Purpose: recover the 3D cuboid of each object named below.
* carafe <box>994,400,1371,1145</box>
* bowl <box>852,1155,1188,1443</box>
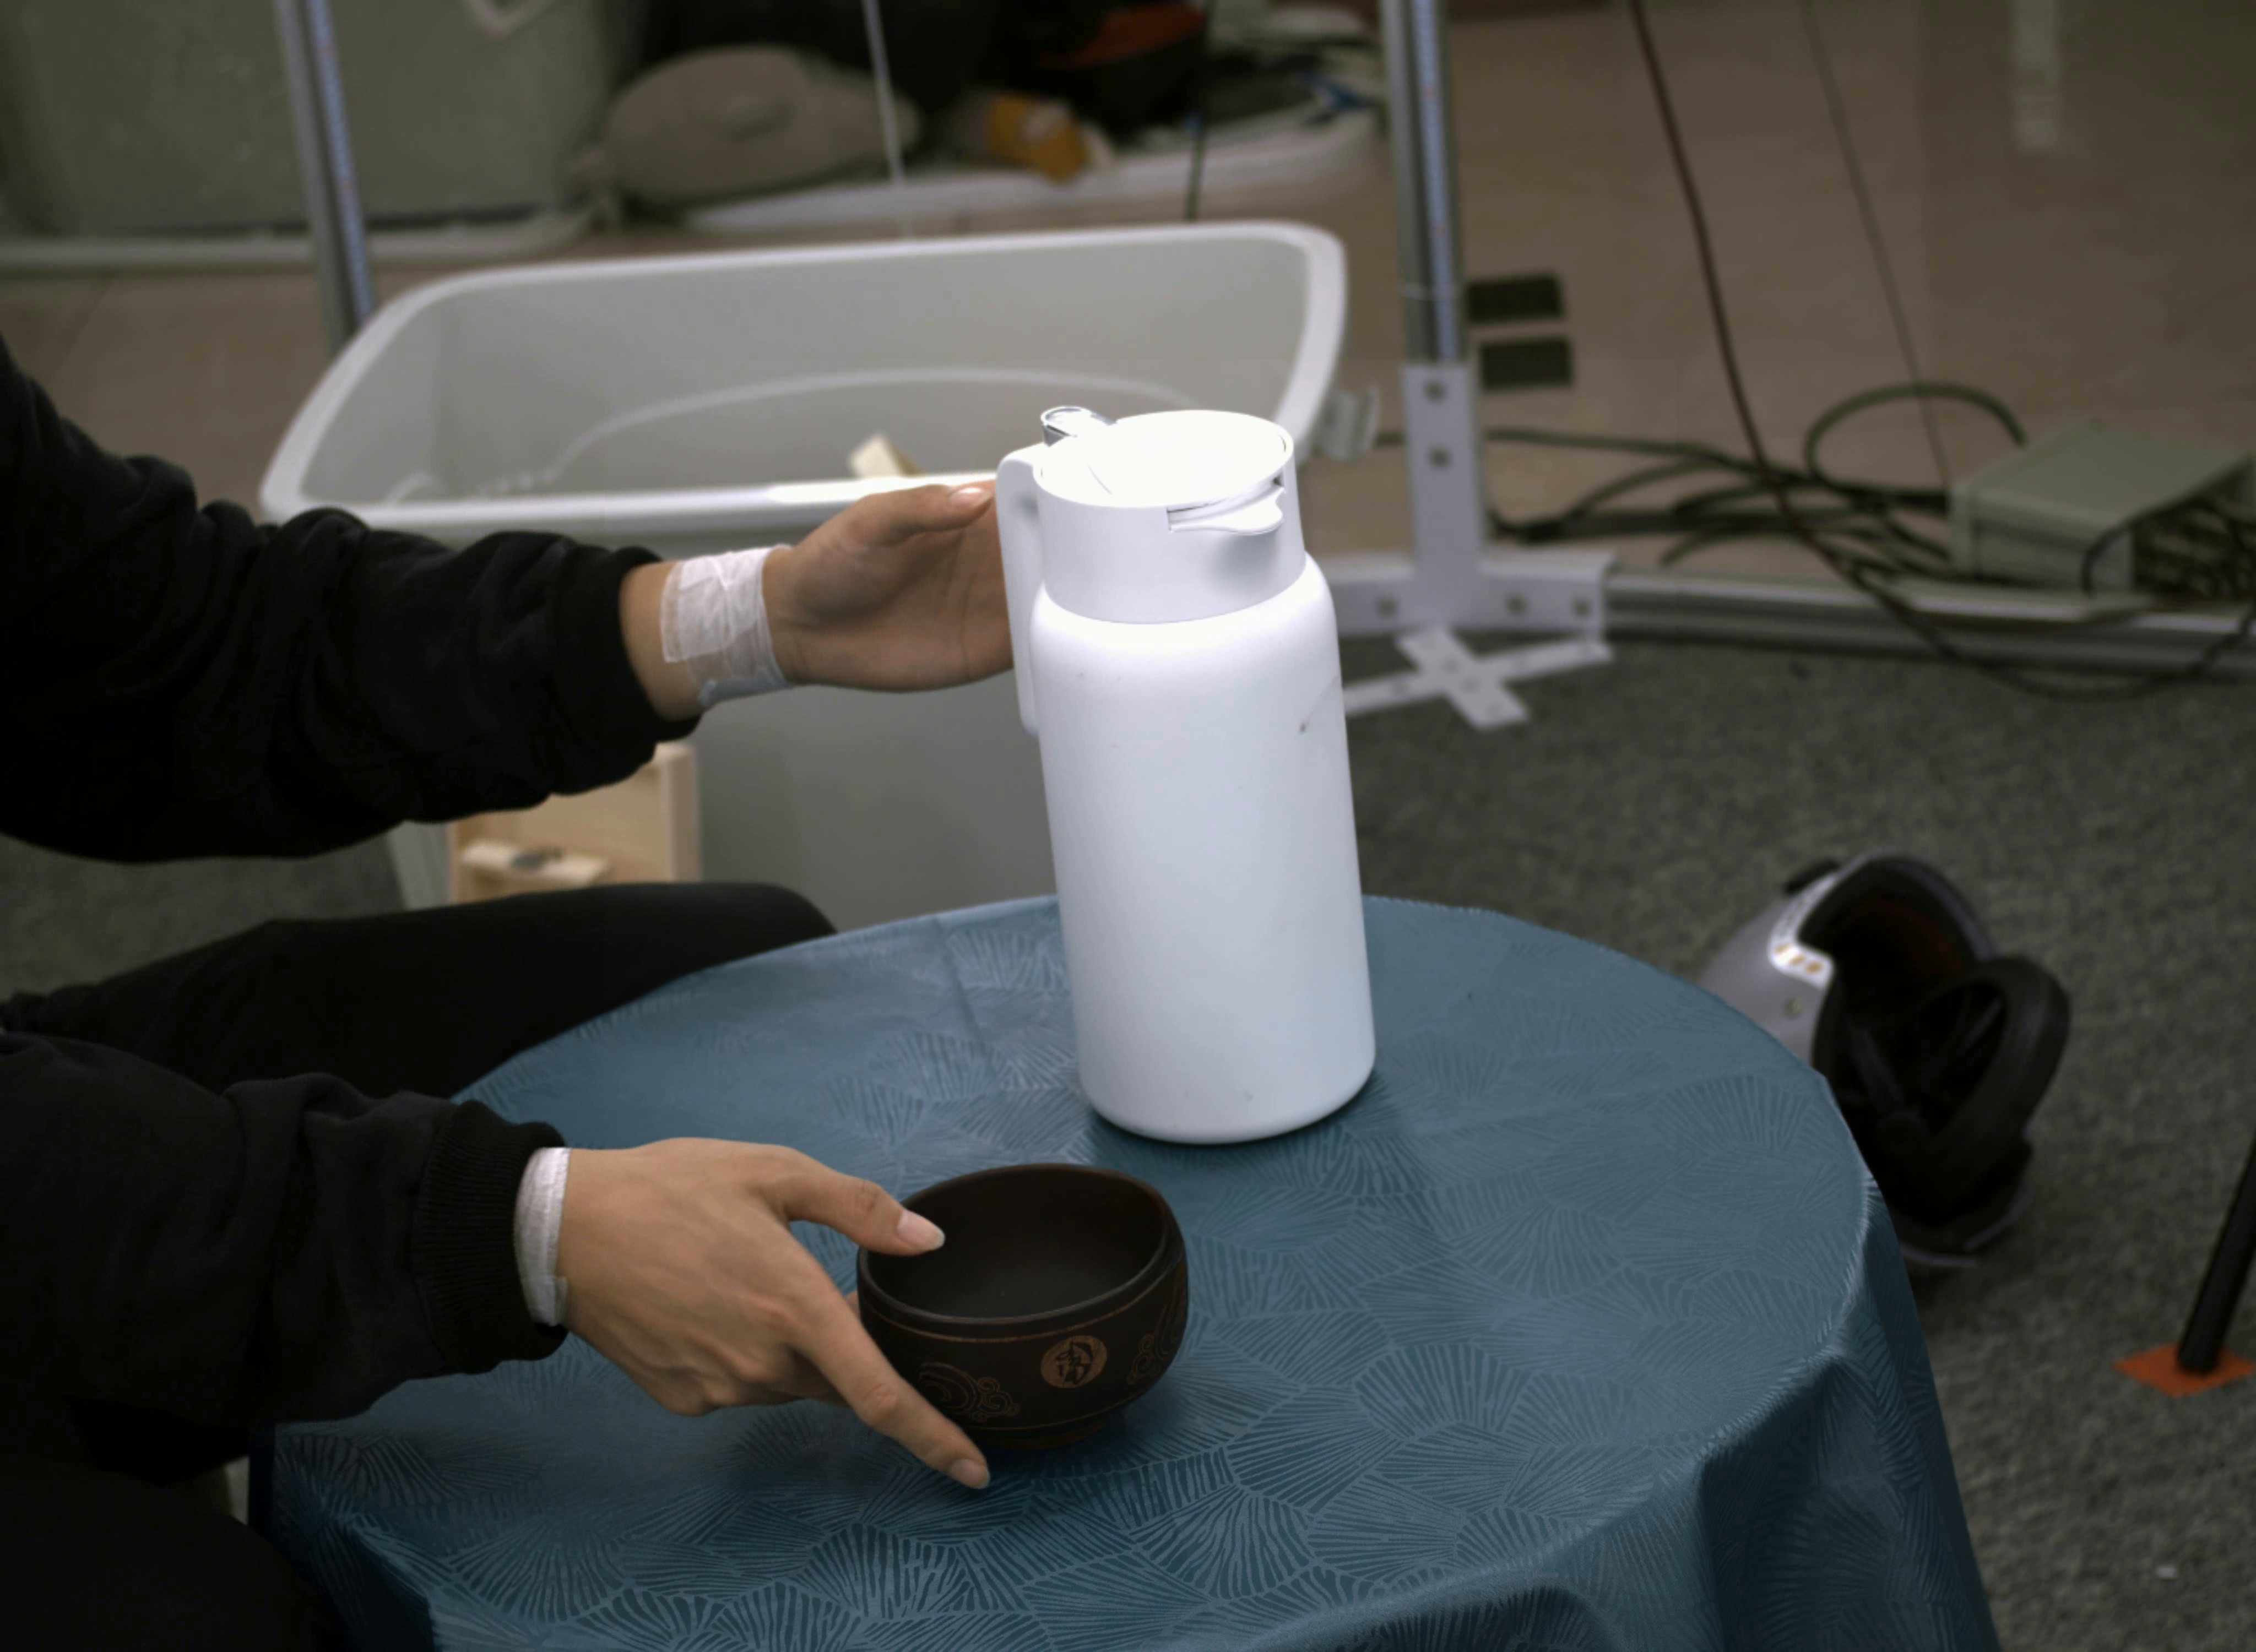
[{"bbox_3d":[0.015,-0.023,2.174,0.123,0.273,0.171,-24,31,-29],"label":"carafe"},{"bbox_3d":[-0.036,0.173,1.996,0.118,0.071,0.116,-5,25,3],"label":"bowl"}]
